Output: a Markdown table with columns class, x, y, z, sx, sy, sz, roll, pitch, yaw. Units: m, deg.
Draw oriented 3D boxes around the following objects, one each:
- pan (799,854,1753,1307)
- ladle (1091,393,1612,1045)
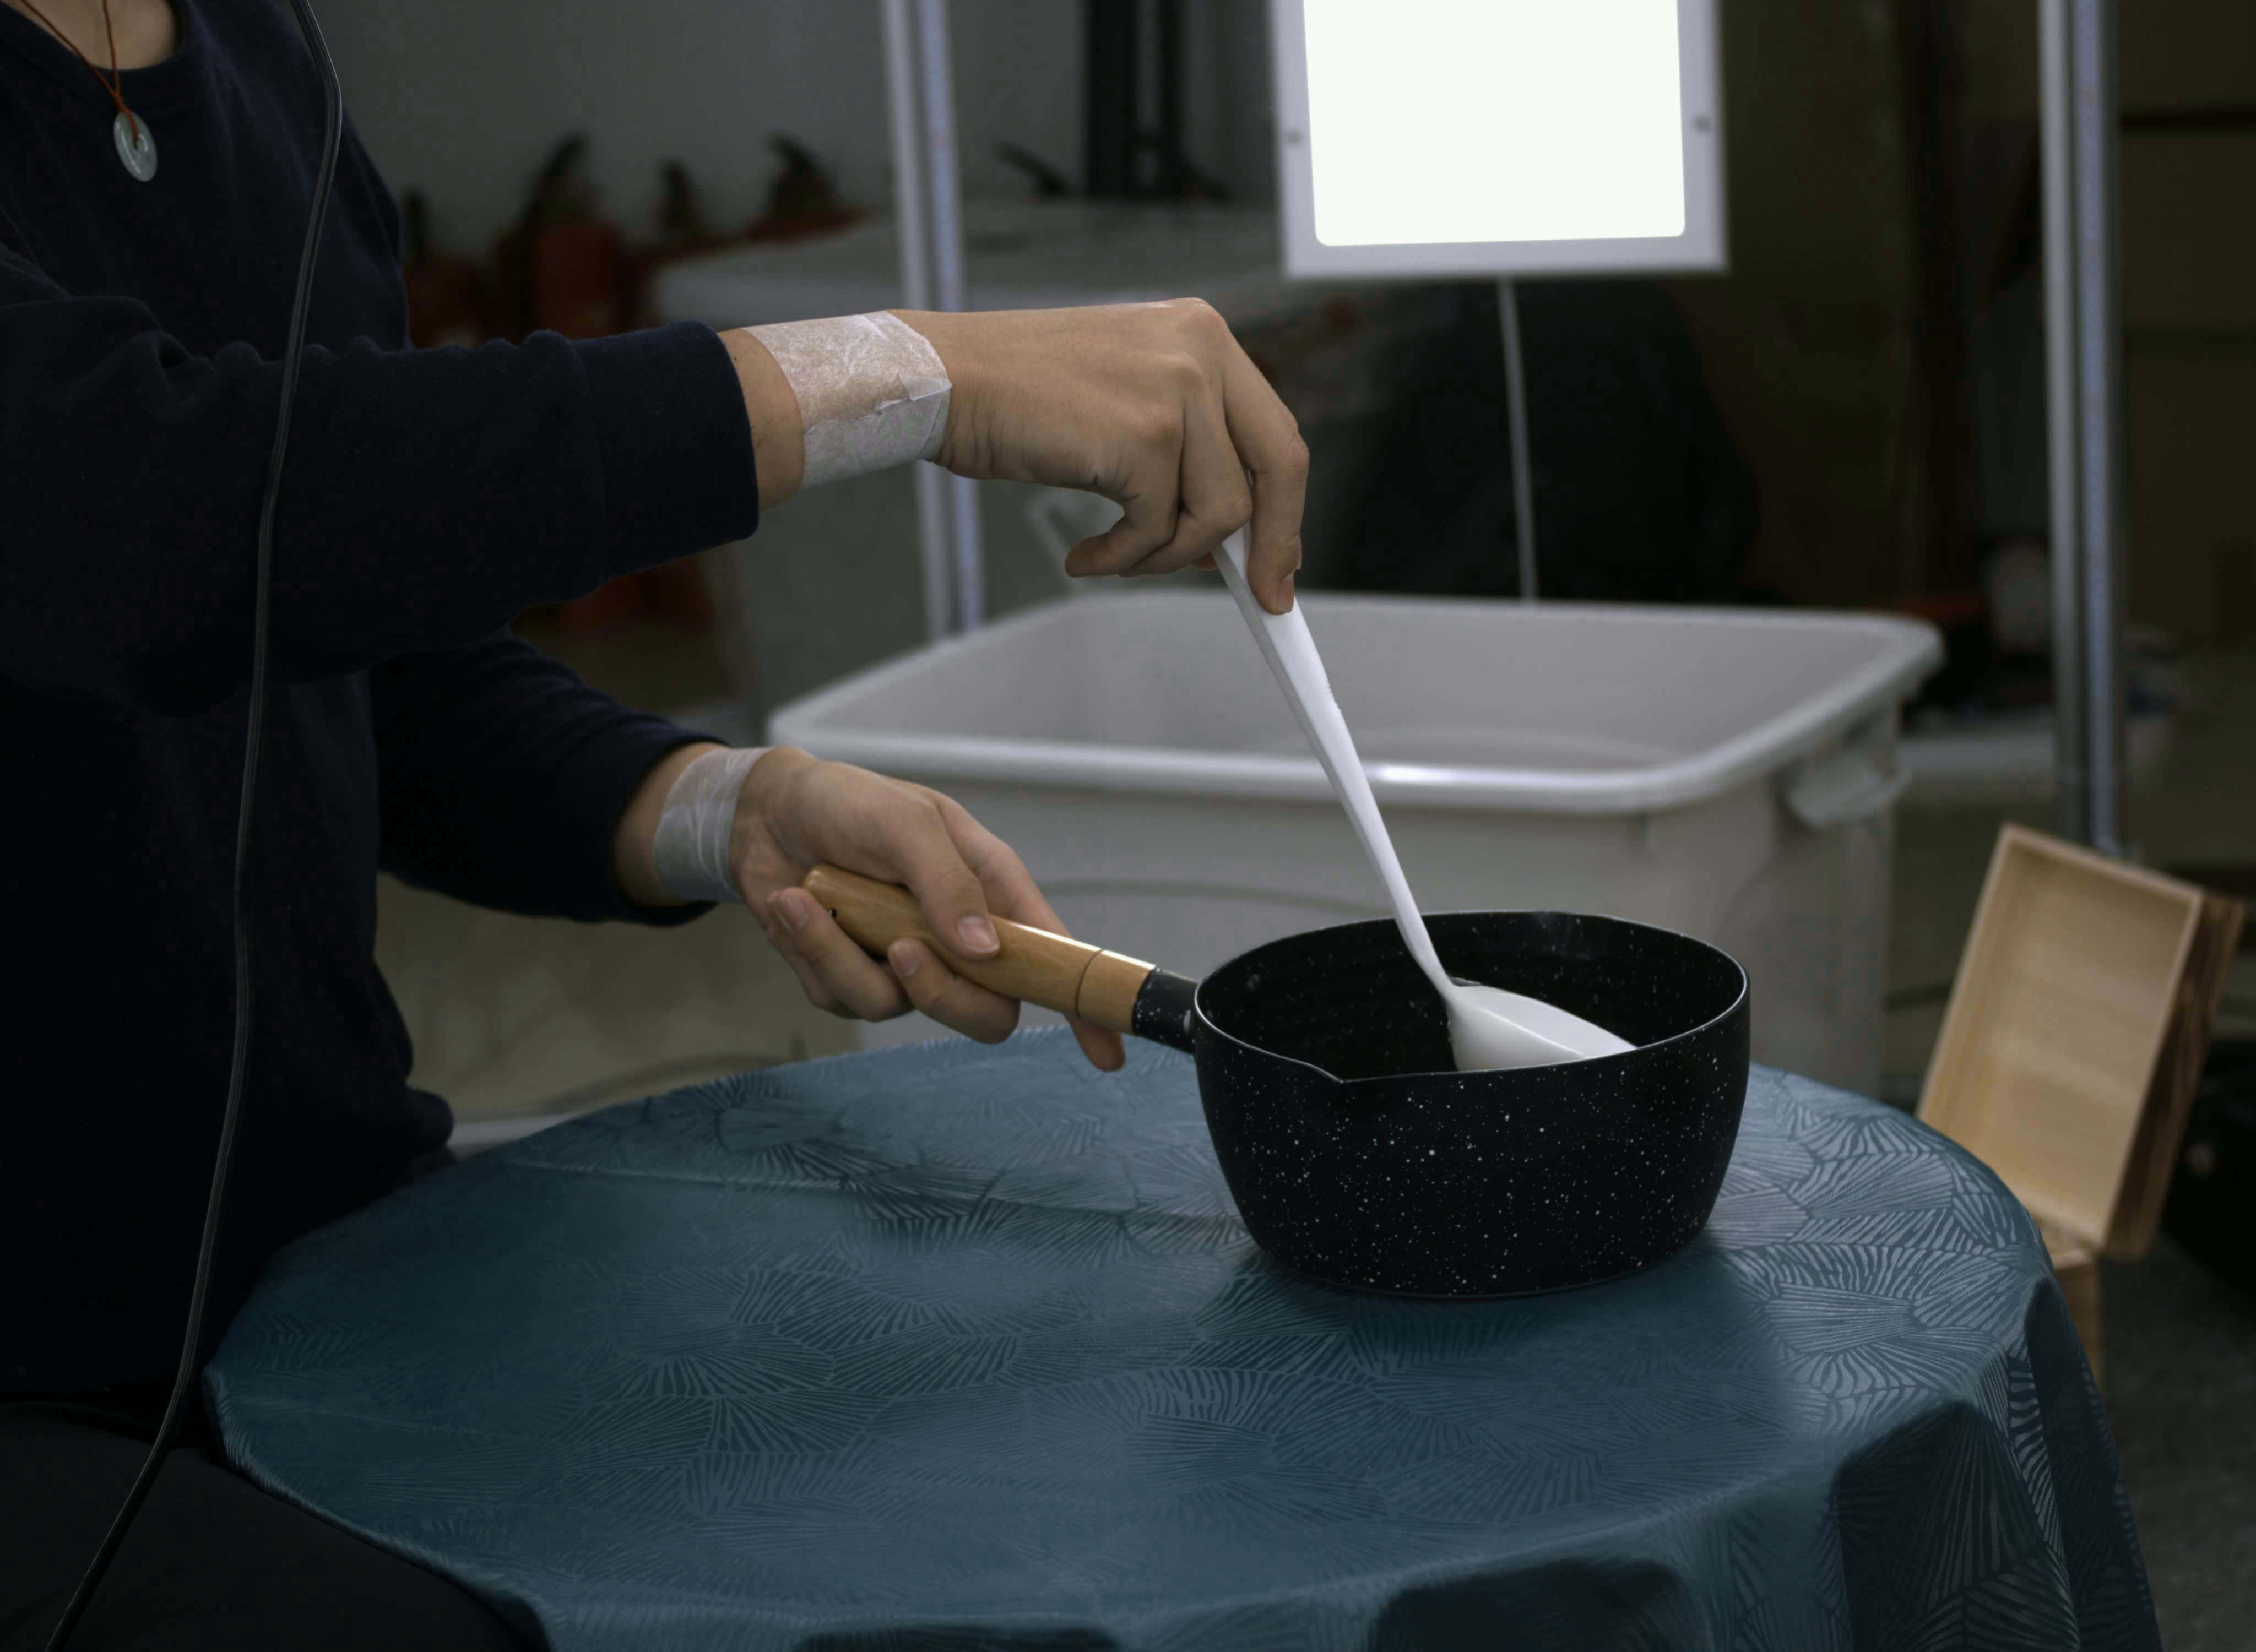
| class | x | y | z | sx | sy | sz | roll | pitch | yaw |
| --- | --- | --- | --- | --- | --- | --- | --- | --- | --- |
| pan | 0.042 | 0.076 | 1.844 | 0.348 | 0.109 | 0.203 | 5 | 18 | 26 |
| ladle | 0.090 | -0.018 | 1.760 | 0.070 | 0.292 | 0.090 | -29 | 15 | 7 |
